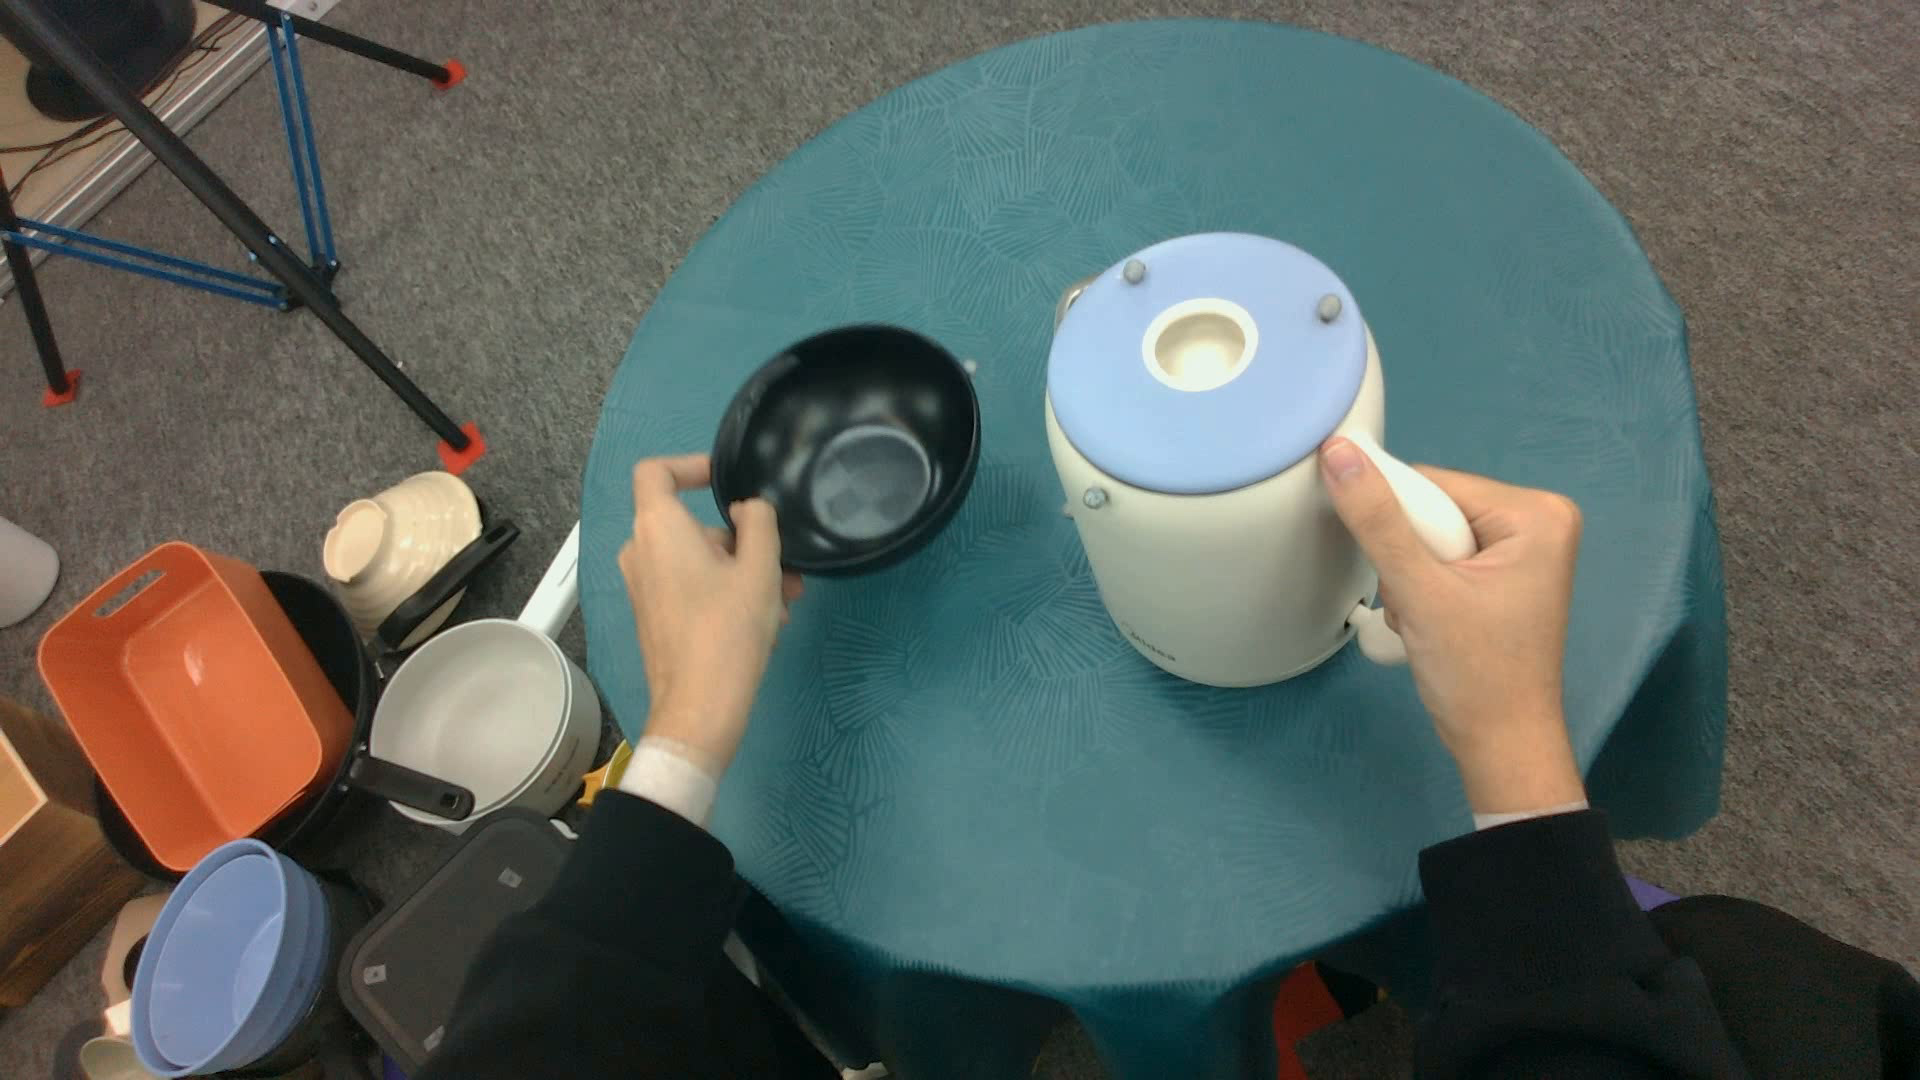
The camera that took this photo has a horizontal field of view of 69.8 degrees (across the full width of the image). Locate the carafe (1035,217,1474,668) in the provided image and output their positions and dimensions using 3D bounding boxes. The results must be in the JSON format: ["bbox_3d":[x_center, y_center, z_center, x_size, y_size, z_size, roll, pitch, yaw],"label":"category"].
[{"bbox_3d":[0.125,-0.024,0.576,0.191,0.182,0.132,33,74,26],"label":"carafe"}]

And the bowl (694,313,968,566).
[{"bbox_3d":[-0.059,-0.043,0.689,0.140,0.049,0.140,-6,62,11],"label":"bowl"}]
